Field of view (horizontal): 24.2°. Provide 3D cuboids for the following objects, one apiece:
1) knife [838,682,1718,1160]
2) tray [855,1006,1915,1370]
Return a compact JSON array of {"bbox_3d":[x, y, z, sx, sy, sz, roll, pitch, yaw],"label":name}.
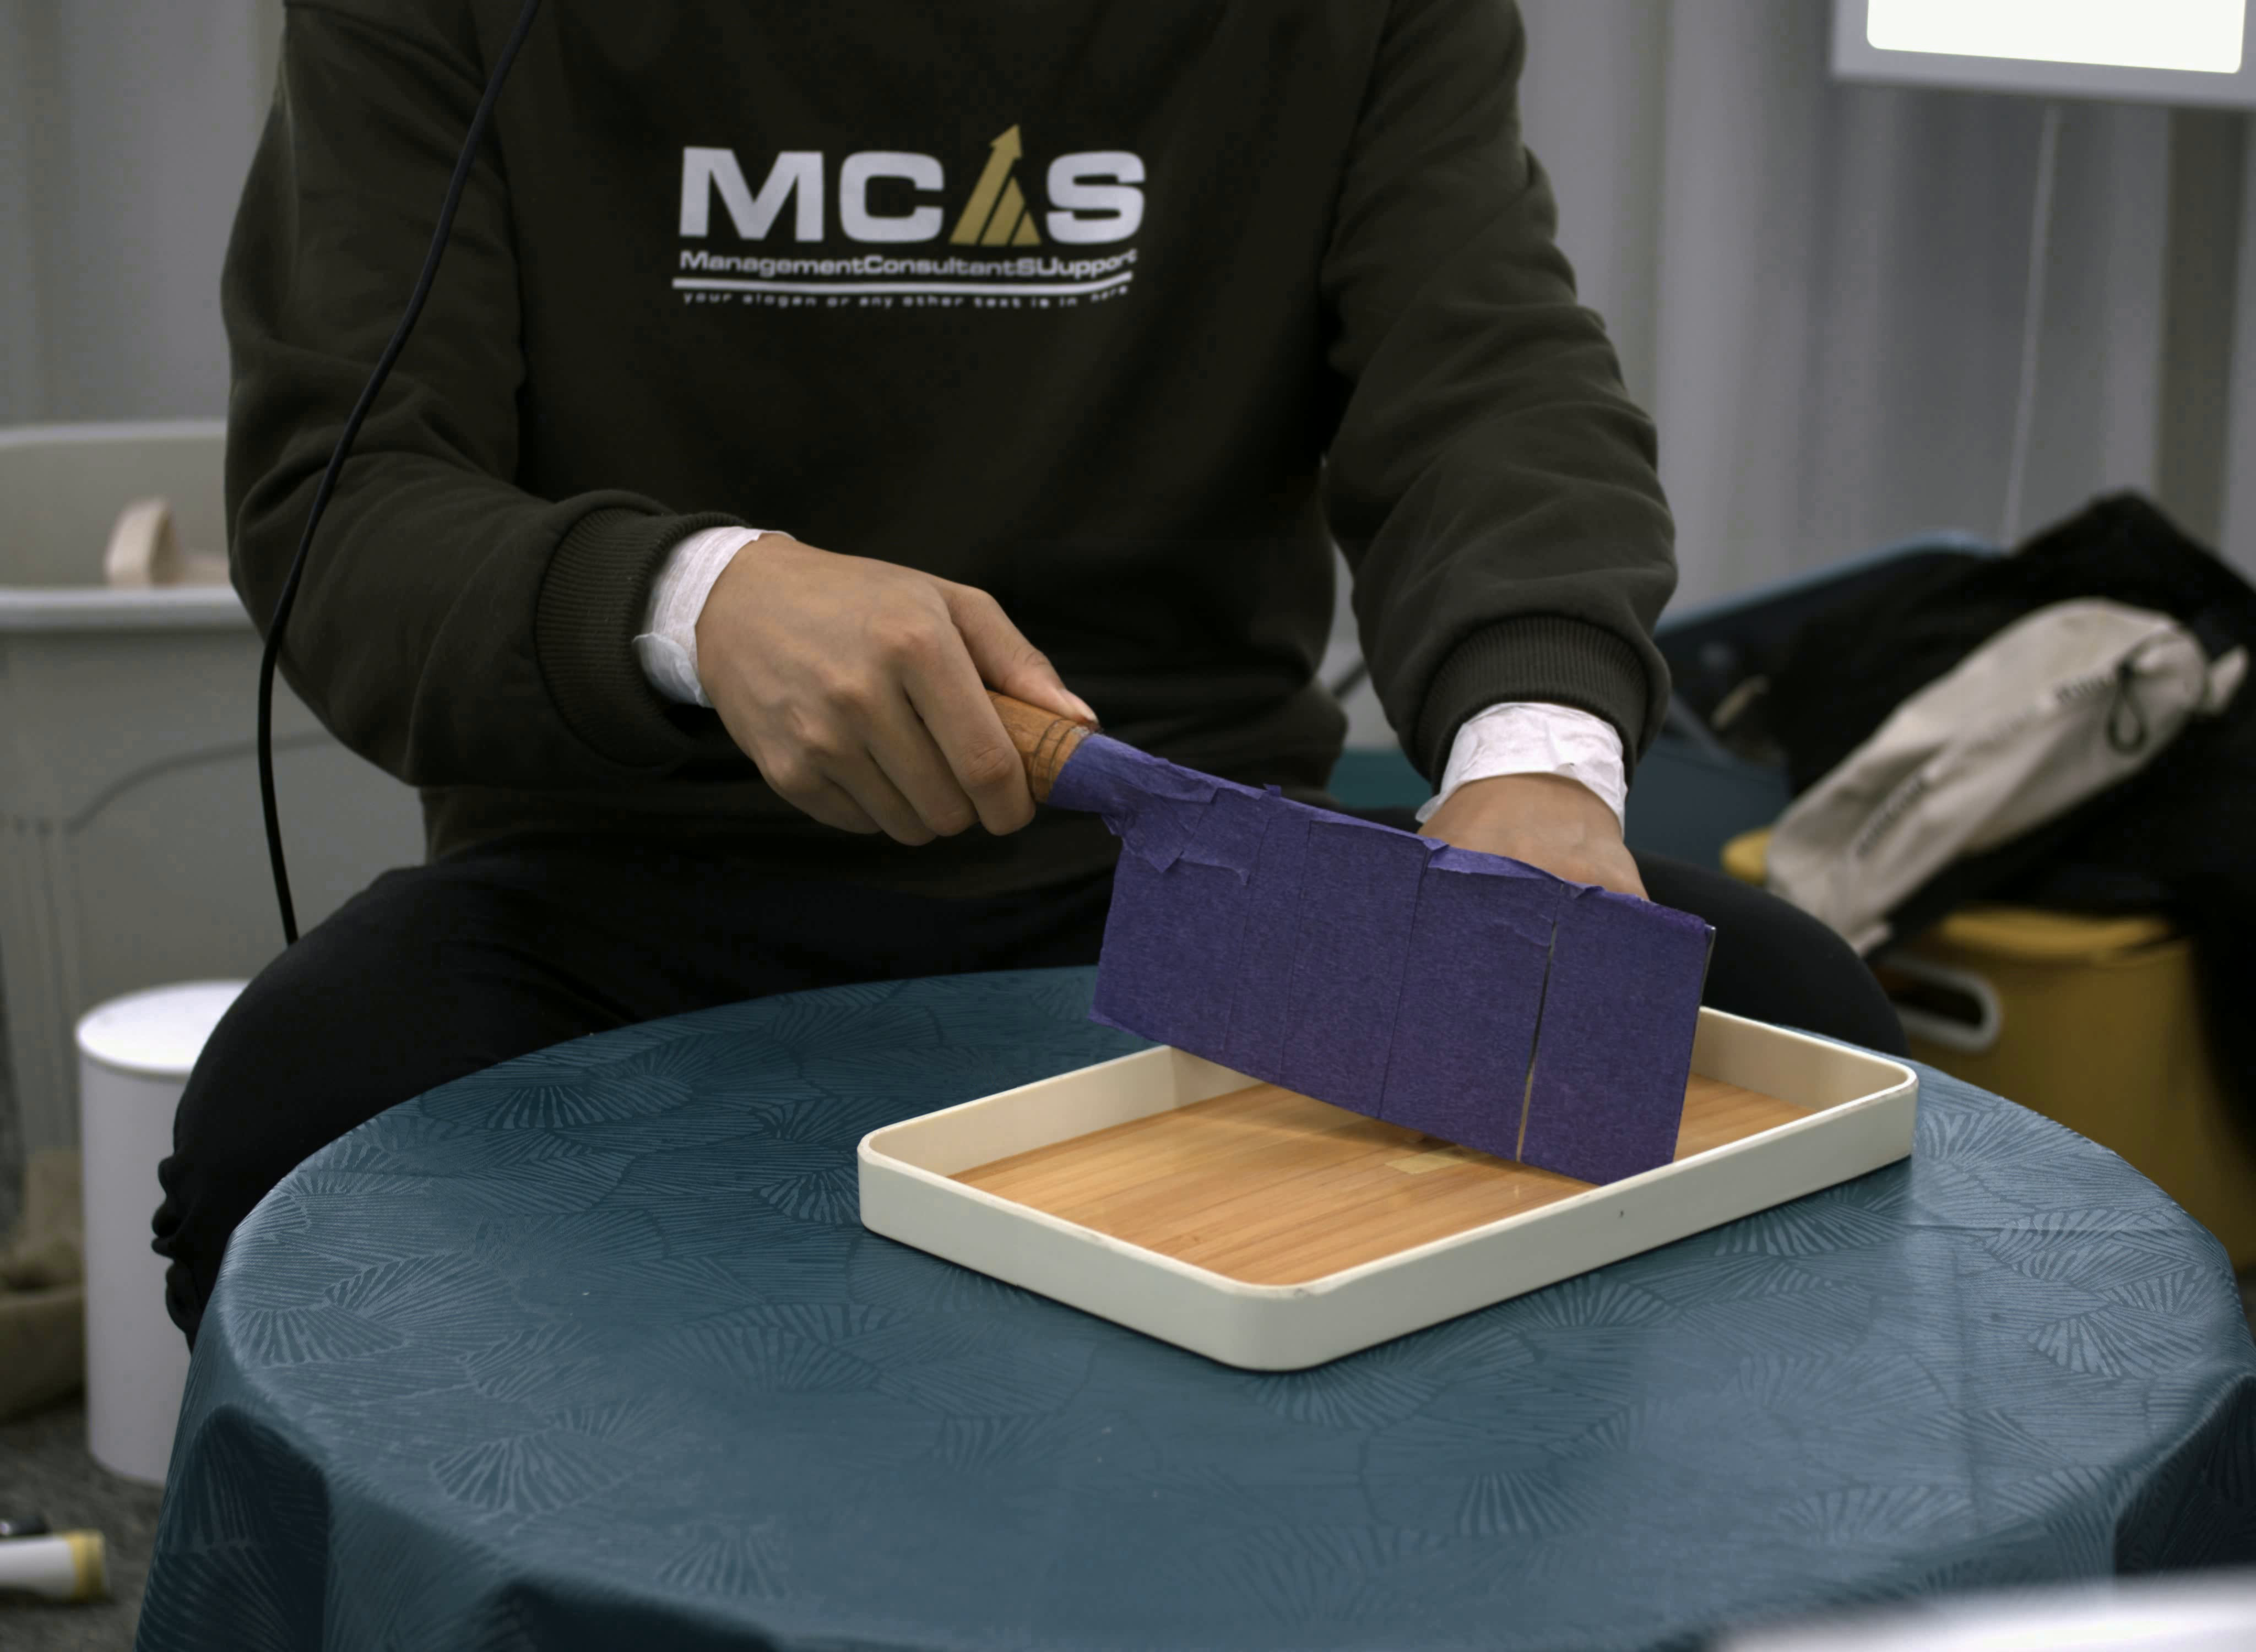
[{"bbox_3d":[0.037,0.031,1.656,0.311,0.104,0.032,16,12,29],"label":"knife"},{"bbox_3d":[0.083,0.099,1.627,0.302,0.027,0.189,-14,21,-42],"label":"tray"}]
